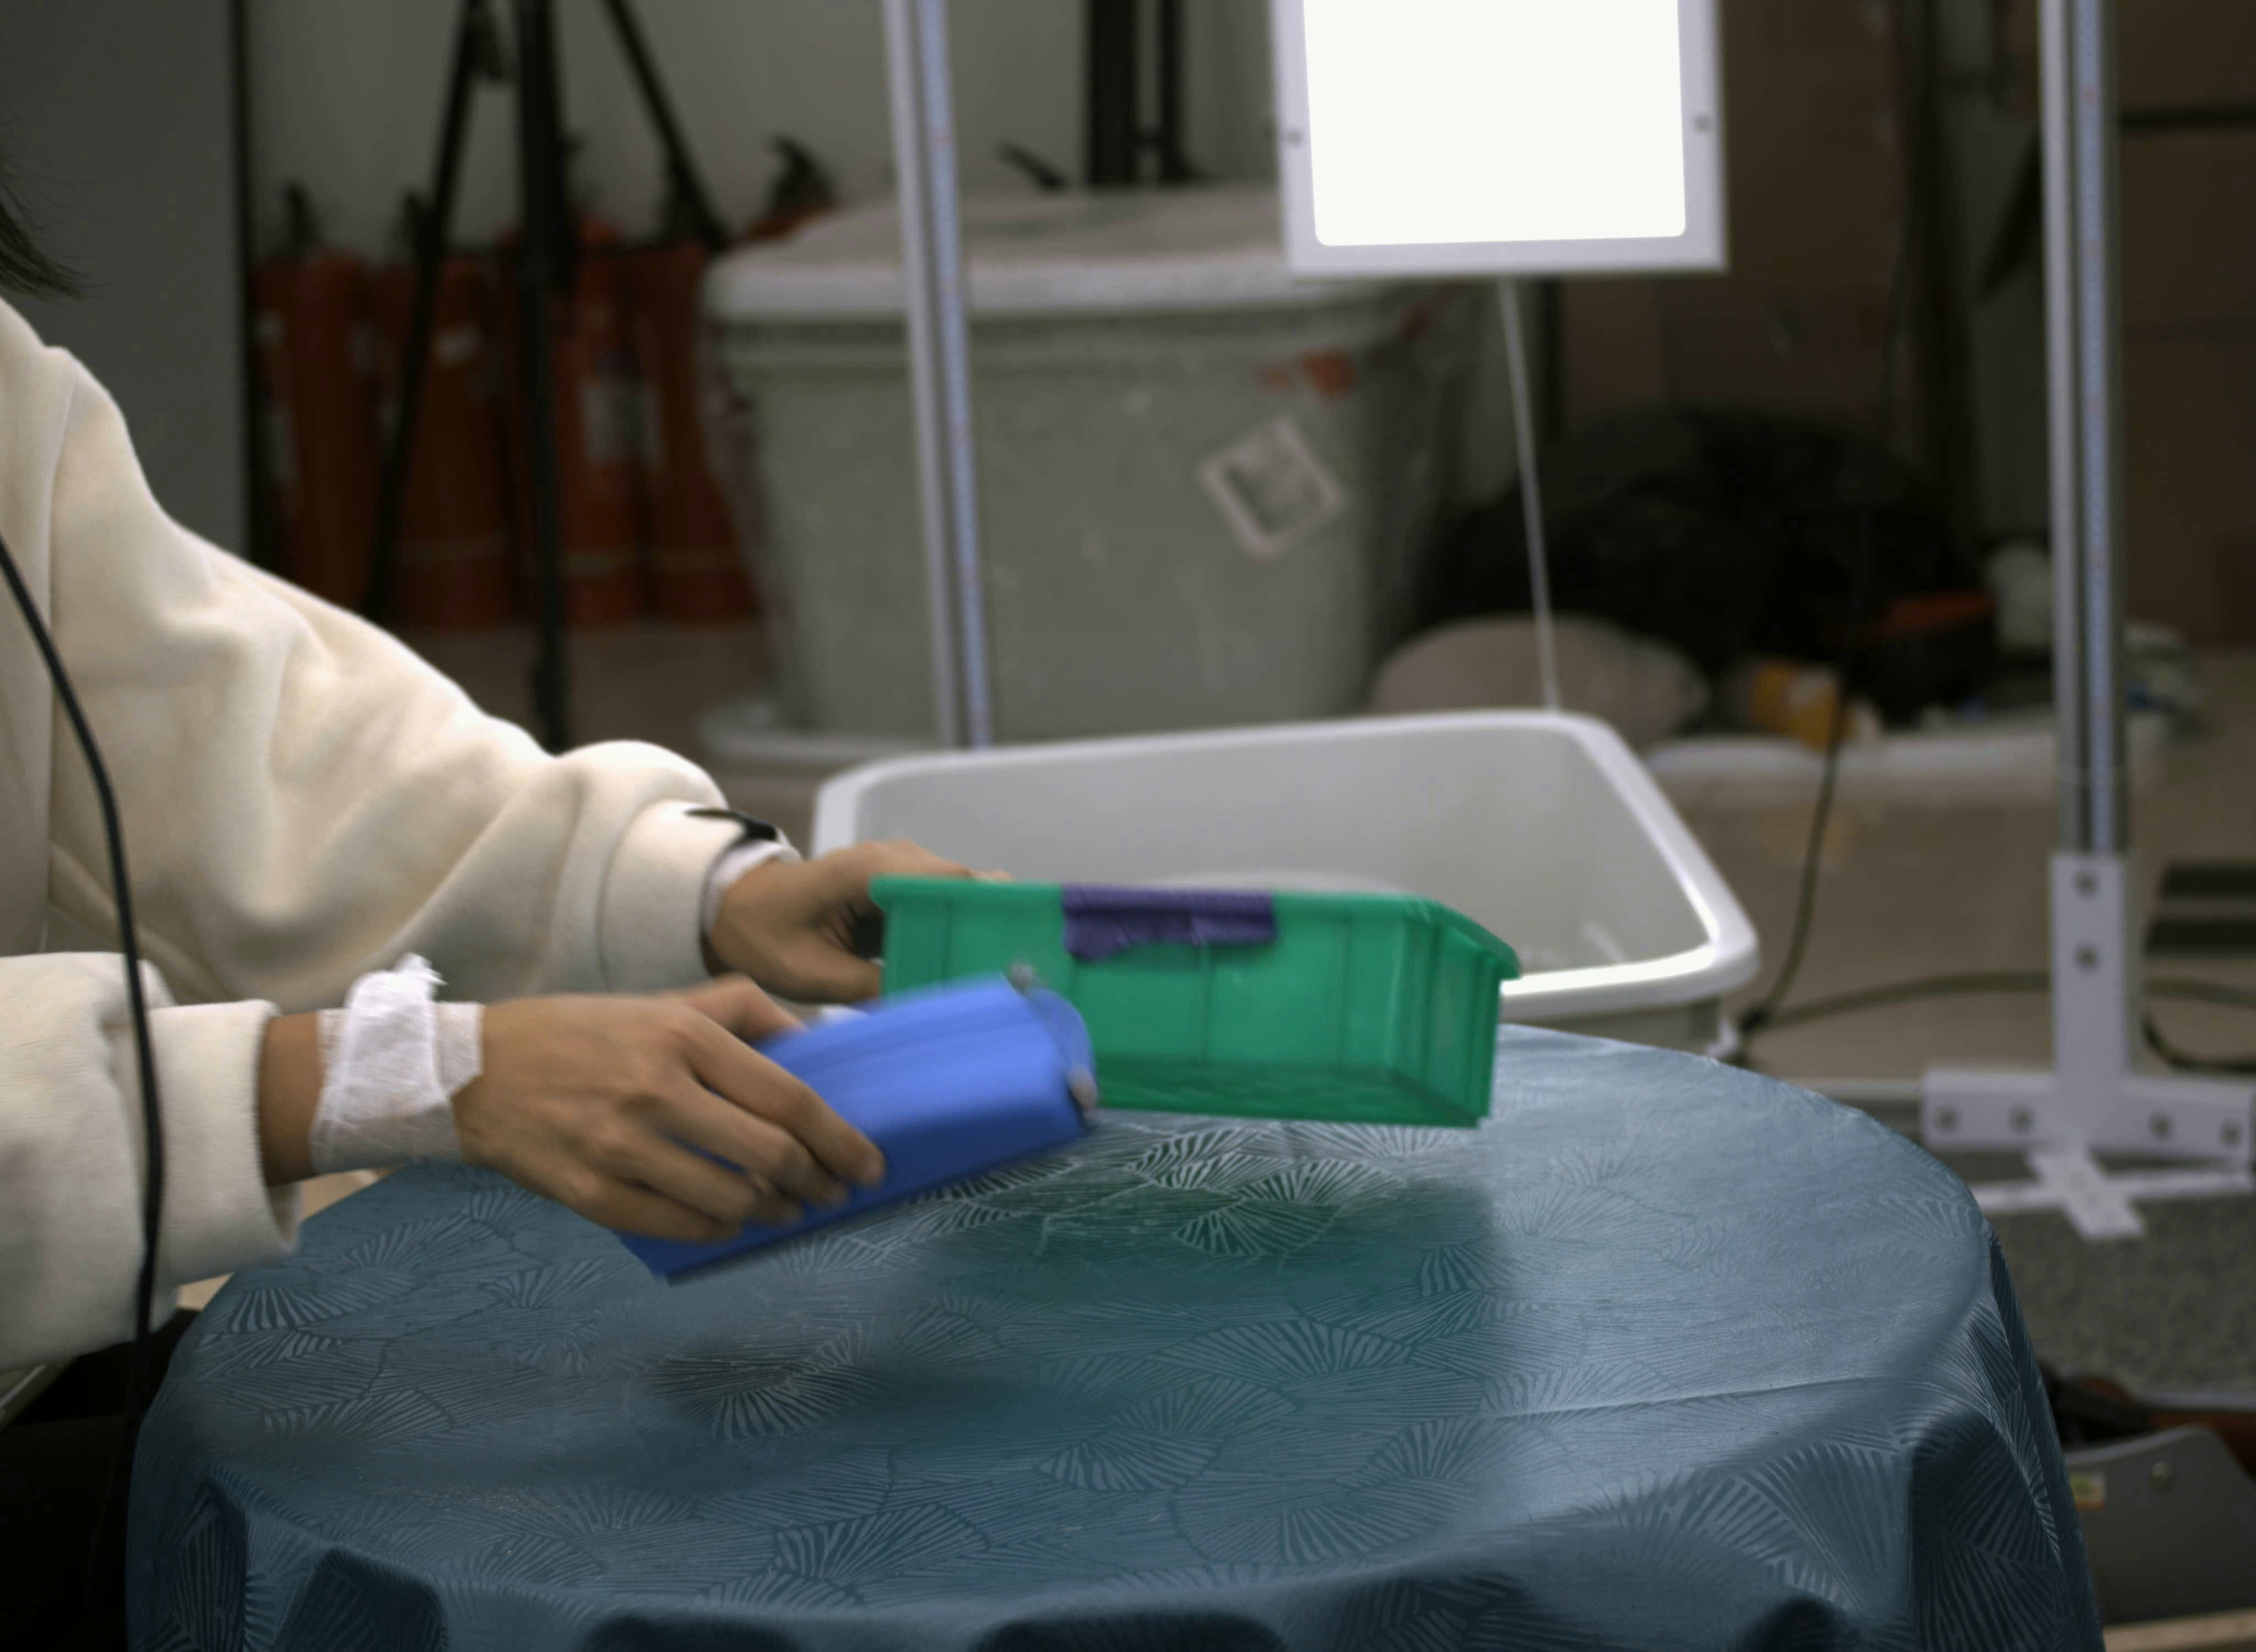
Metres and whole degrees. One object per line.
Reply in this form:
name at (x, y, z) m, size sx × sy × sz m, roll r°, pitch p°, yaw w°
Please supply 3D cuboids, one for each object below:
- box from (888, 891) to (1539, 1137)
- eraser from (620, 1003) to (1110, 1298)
box at (0.029, 0.065, 1.880) m, size 0.213 × 0.065 × 0.137 m, roll 3°, pitch -7°, yaw 19°
eraser at (-0.086, 0.099, 1.732) m, size 0.164 × 0.047 × 0.053 m, roll -17°, pitch 46°, yaw 20°
